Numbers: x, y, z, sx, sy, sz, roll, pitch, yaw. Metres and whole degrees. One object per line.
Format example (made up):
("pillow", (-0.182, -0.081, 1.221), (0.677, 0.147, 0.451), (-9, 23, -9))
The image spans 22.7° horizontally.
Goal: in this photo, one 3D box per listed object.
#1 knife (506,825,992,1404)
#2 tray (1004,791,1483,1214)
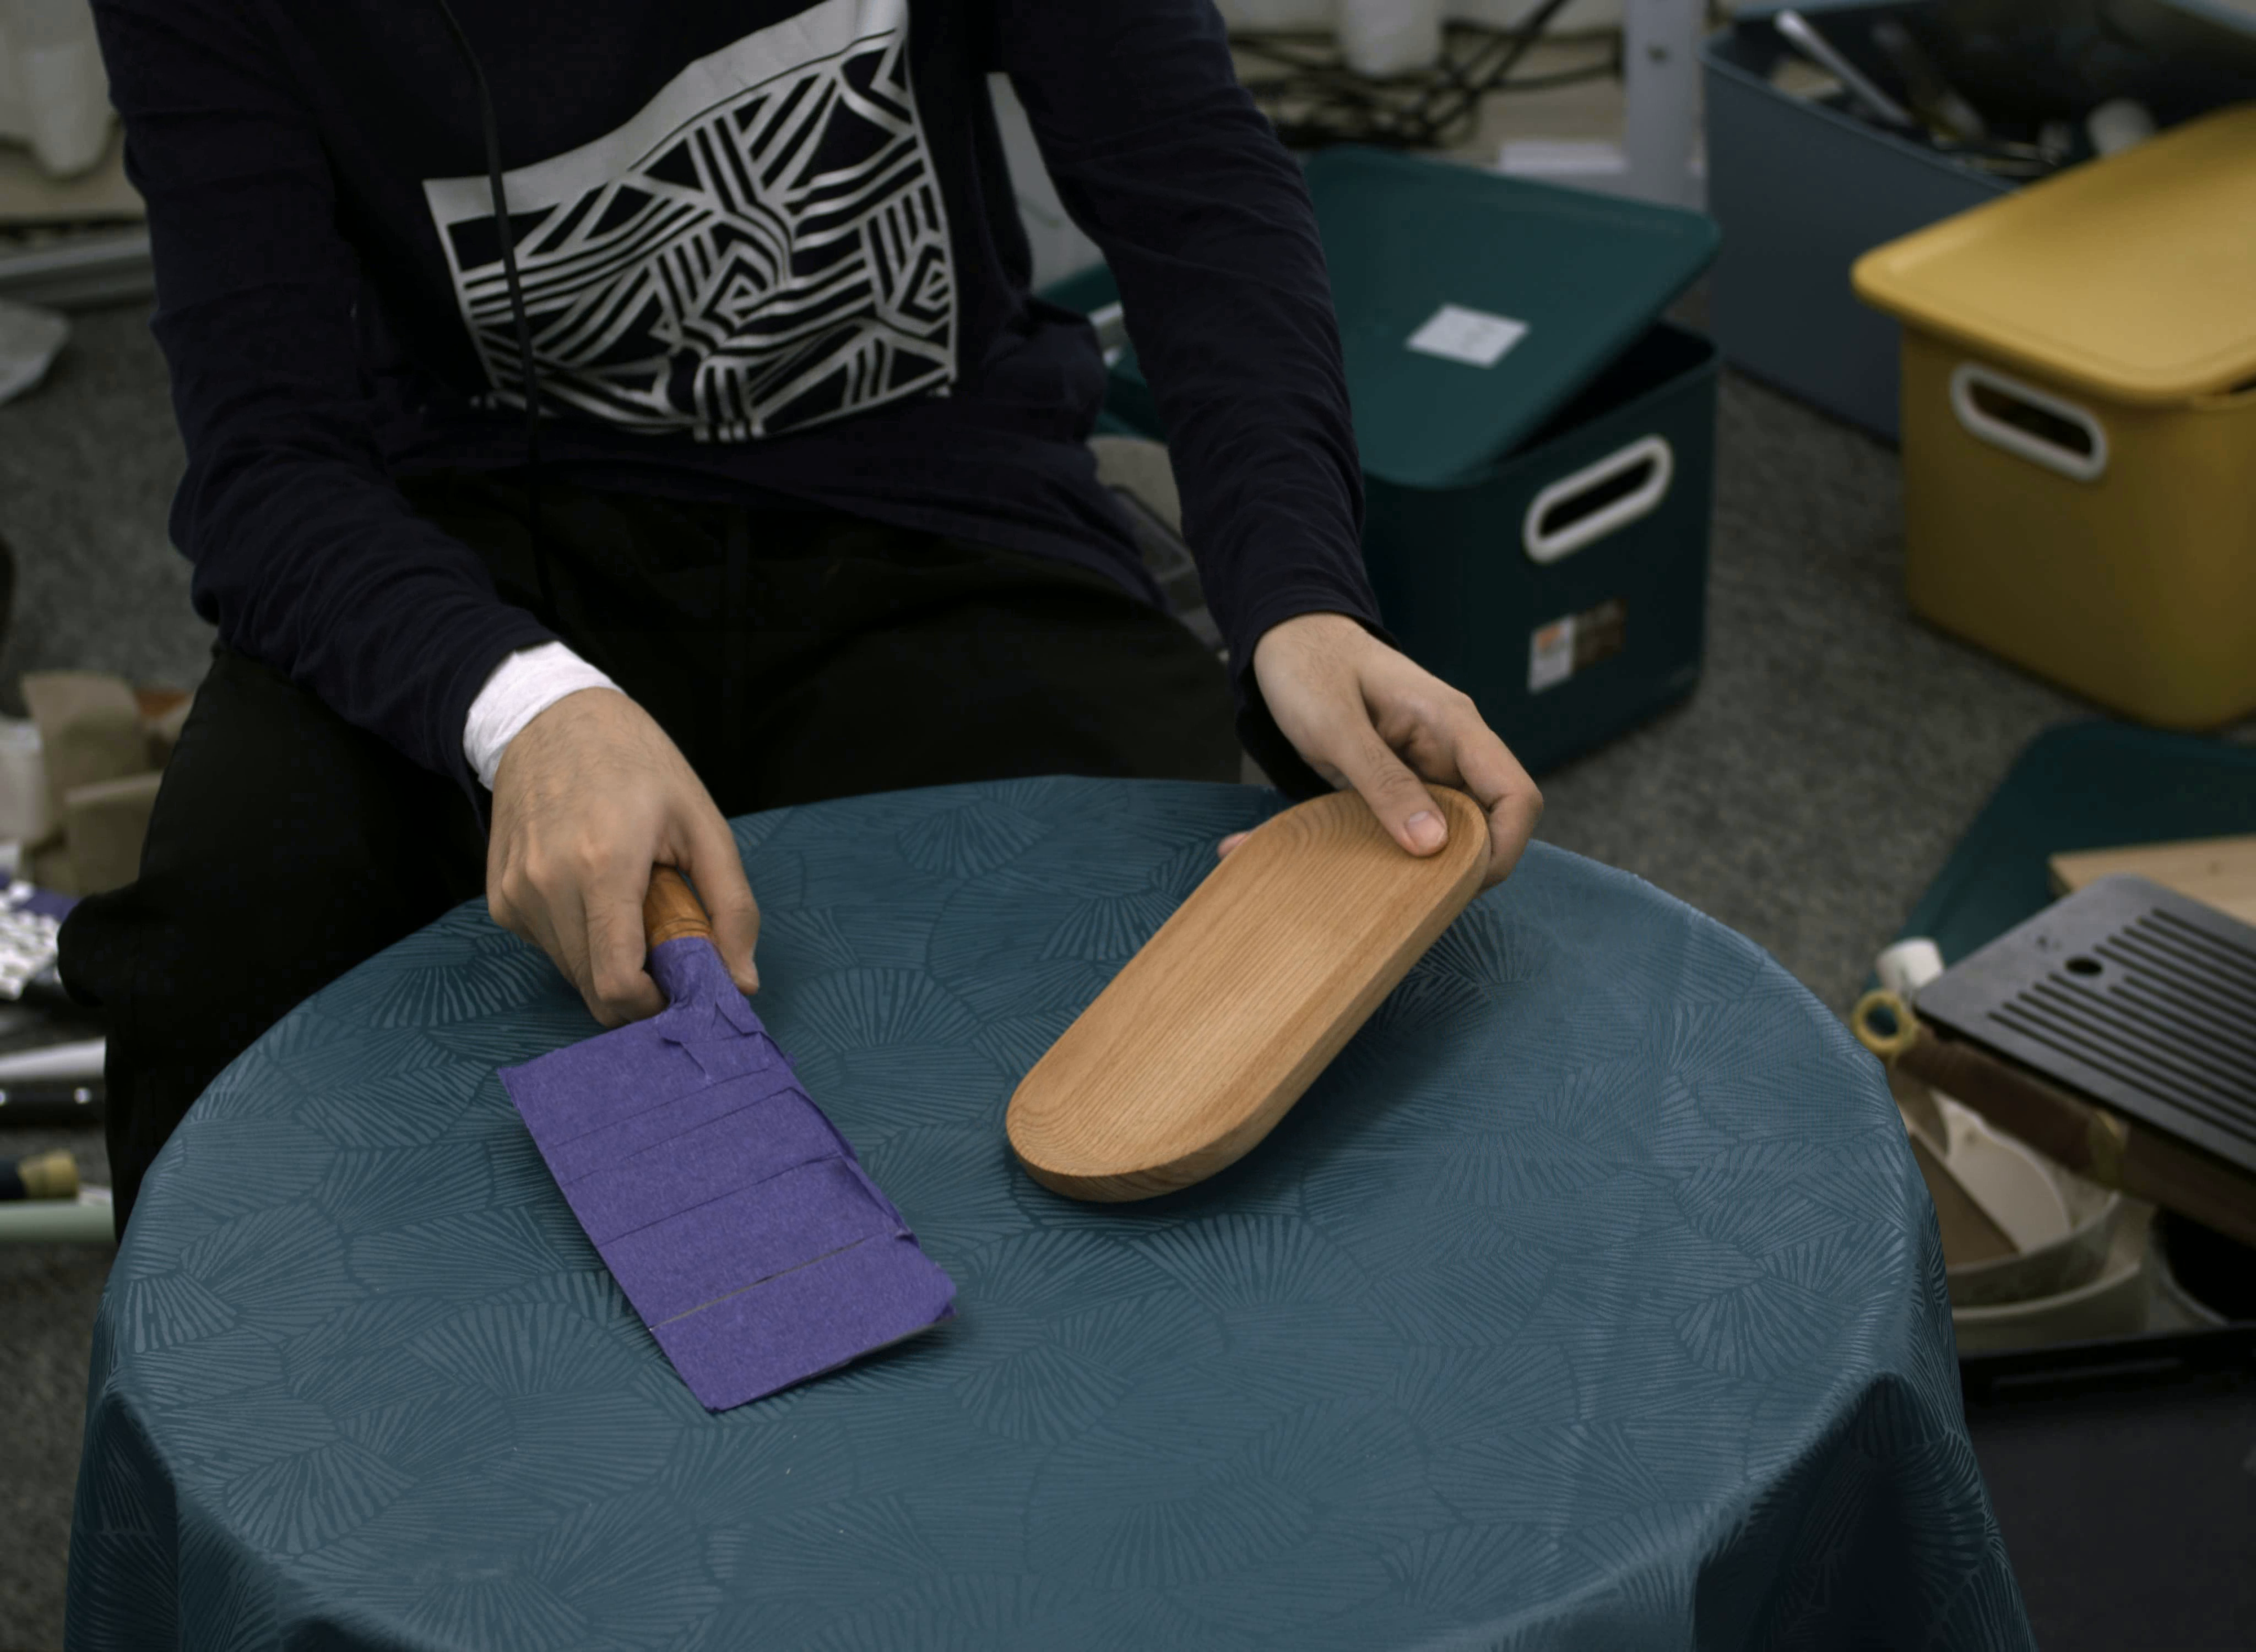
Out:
("knife", (-0.152, 0.092, 1.883), (0.104, 0.032, 0.318), (-17, 33, -18))
("tray", (0.042, 0.058, 1.918), (0.101, 0.020, 0.235), (3, 37, 36))
